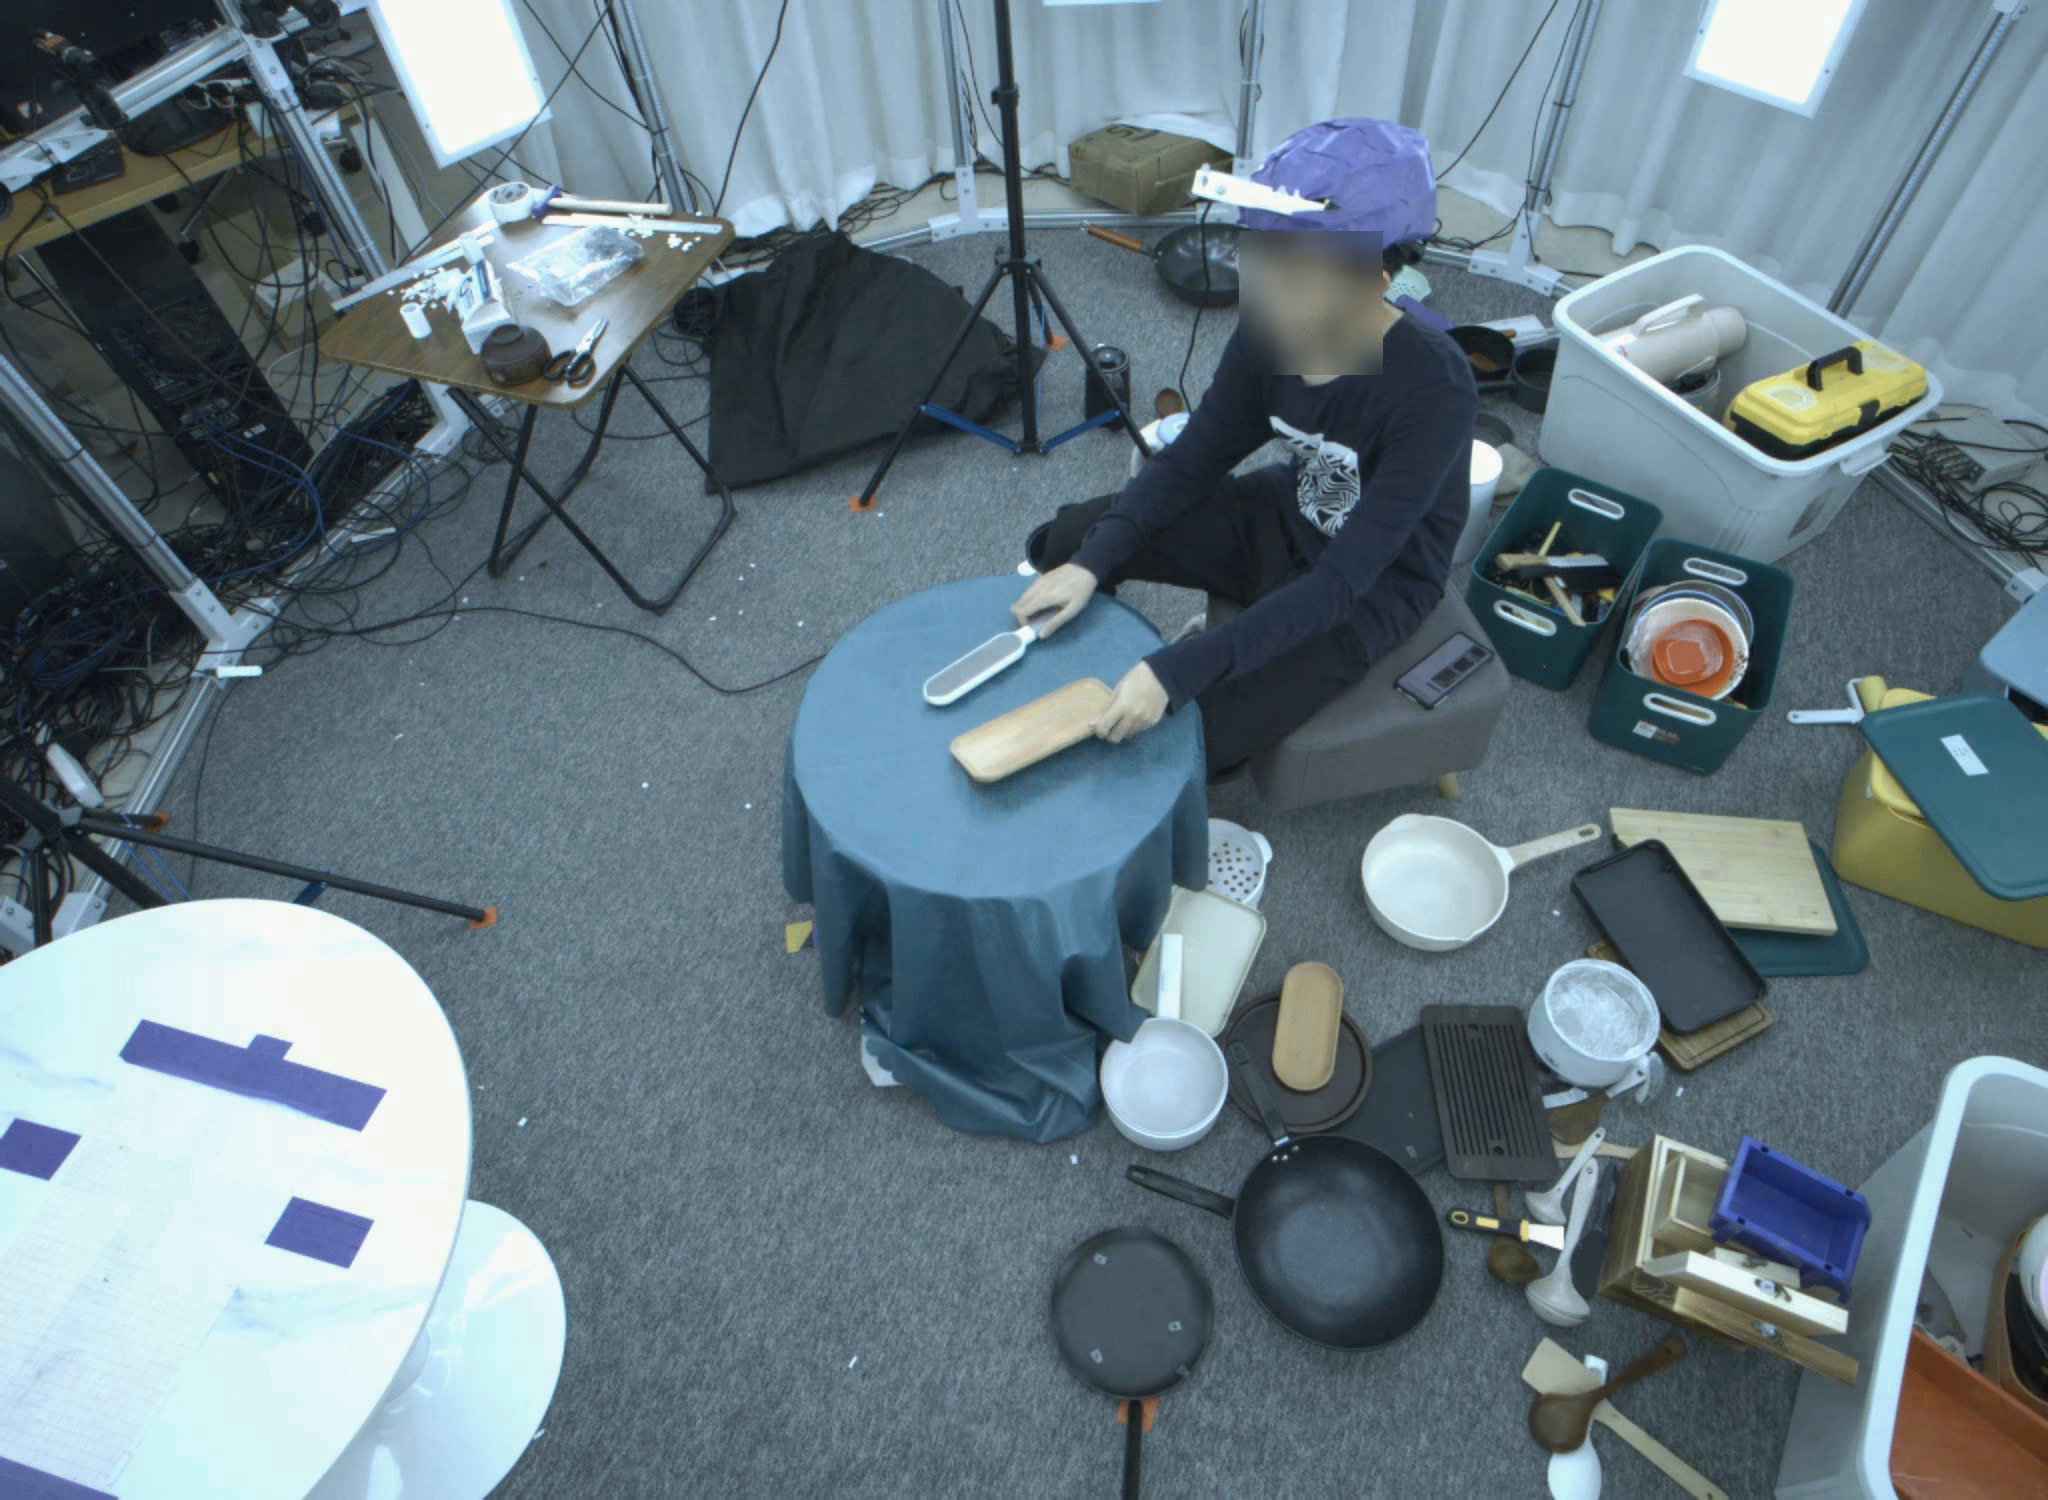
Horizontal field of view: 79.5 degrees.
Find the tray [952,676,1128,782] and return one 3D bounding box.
[{"bbox_3d":[0.023,-0.031,1.782,0.252,0.023,0.127,-25,39,-15],"label":"tray"}]

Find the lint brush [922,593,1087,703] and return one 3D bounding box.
[{"bbox_3d":[-0.025,-0.160,1.886,0.311,0.021,0.058,-34,46,-19],"label":"lint brush"}]
